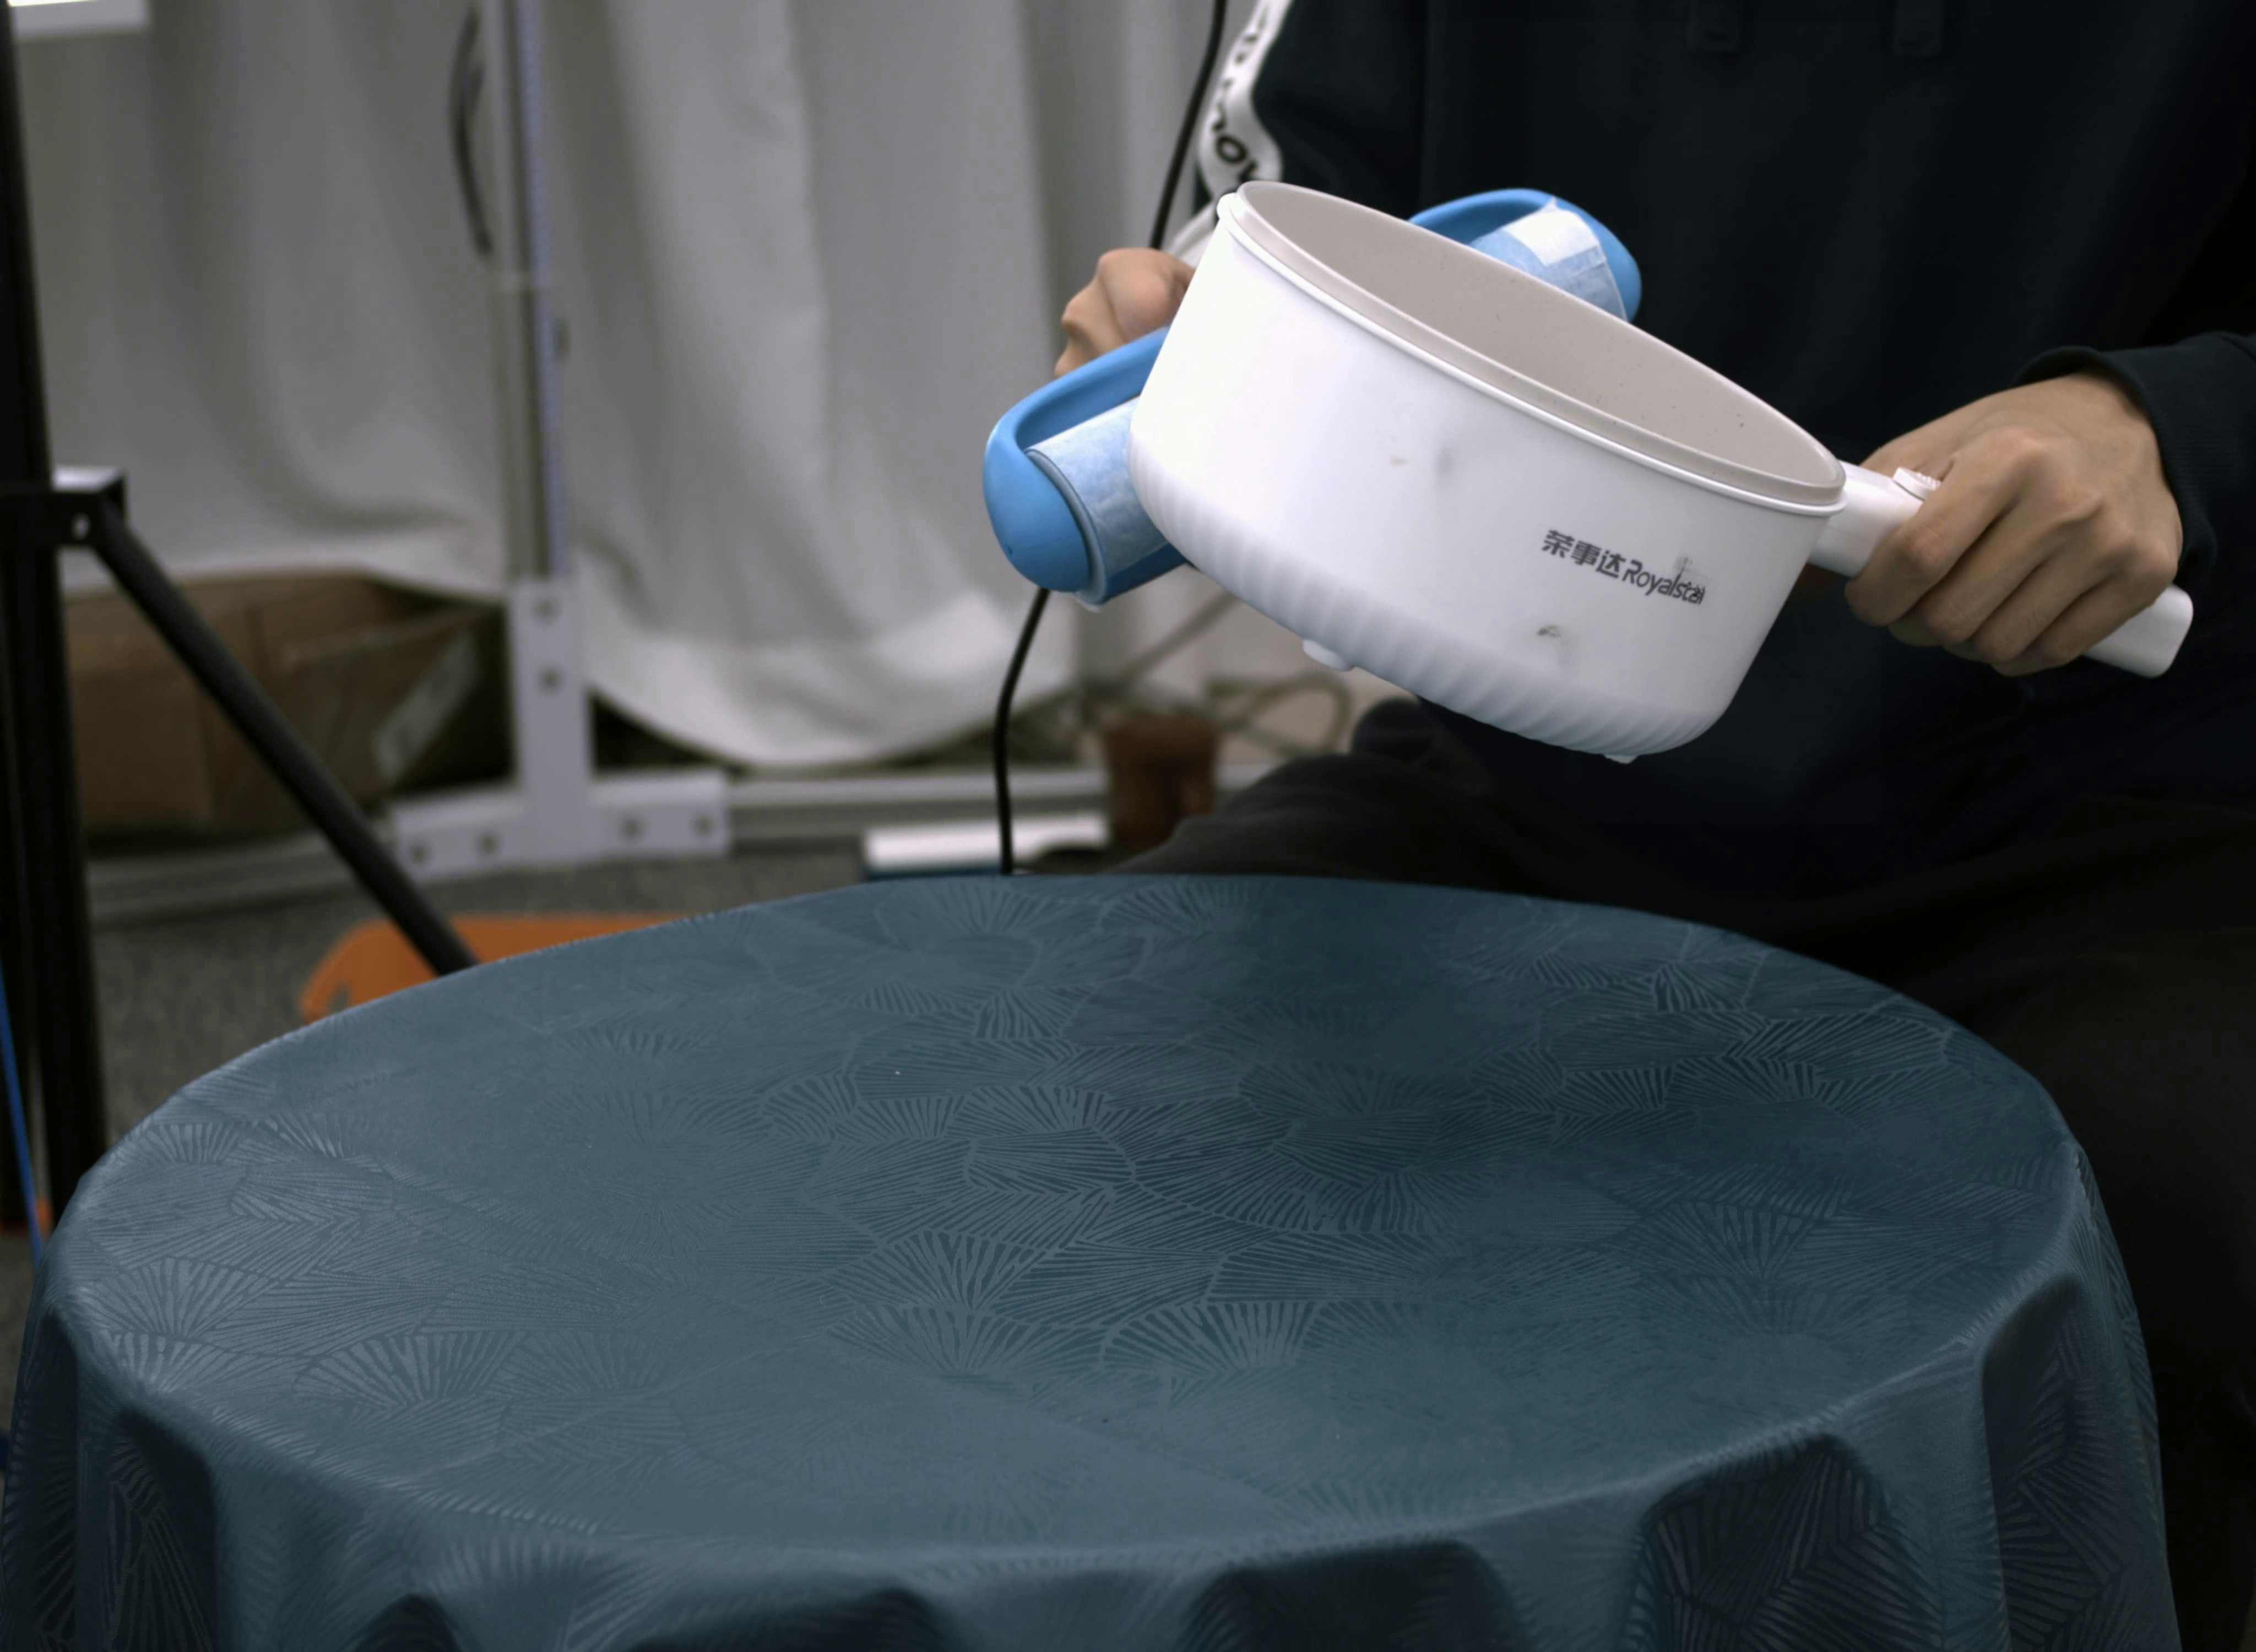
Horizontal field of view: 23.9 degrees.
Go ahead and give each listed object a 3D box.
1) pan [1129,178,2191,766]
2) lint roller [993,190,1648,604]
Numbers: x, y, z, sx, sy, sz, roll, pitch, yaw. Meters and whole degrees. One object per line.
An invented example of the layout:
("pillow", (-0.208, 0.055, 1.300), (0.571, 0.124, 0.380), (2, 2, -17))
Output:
("pan", (0.161, -0.078, 1.576), (0.346, 0.102, 0.205), (18, 16, -29))
("lint roller", (0.038, -0.139, 1.717), (0.226, 0.067, 0.183), (-28, 16, -19))
